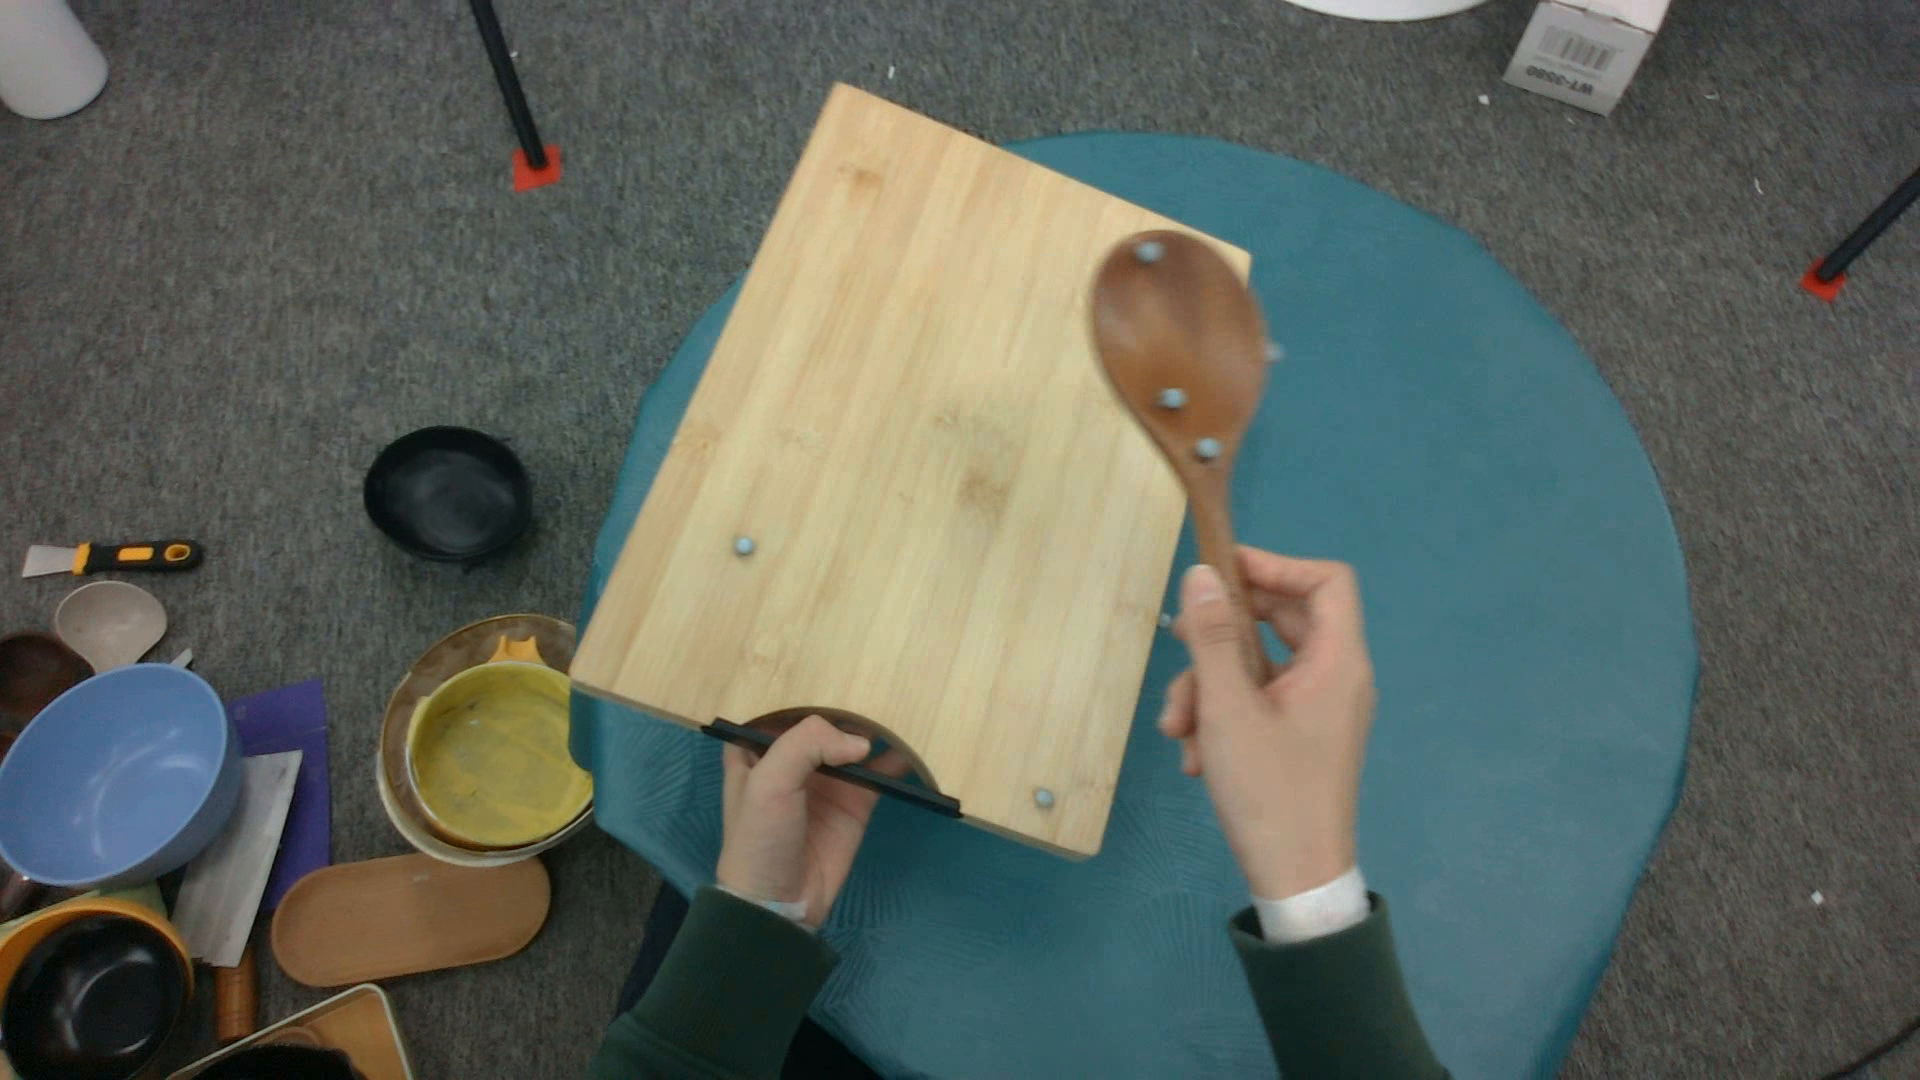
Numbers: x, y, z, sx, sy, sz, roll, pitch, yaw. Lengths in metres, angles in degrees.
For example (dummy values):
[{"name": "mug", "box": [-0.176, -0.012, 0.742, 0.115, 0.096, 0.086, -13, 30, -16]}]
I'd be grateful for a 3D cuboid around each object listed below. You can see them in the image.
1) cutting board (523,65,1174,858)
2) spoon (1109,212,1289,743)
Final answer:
[{"name": "cutting board", "box": [-0.023, -0.051, 0.658, 0.251, 0.023, 0.350, 19, 65, -7]}, {"name": "spoon", "box": [0.100, -0.029, 0.538, 0.075, 0.017, 0.216, -2, 74, -10]}]
